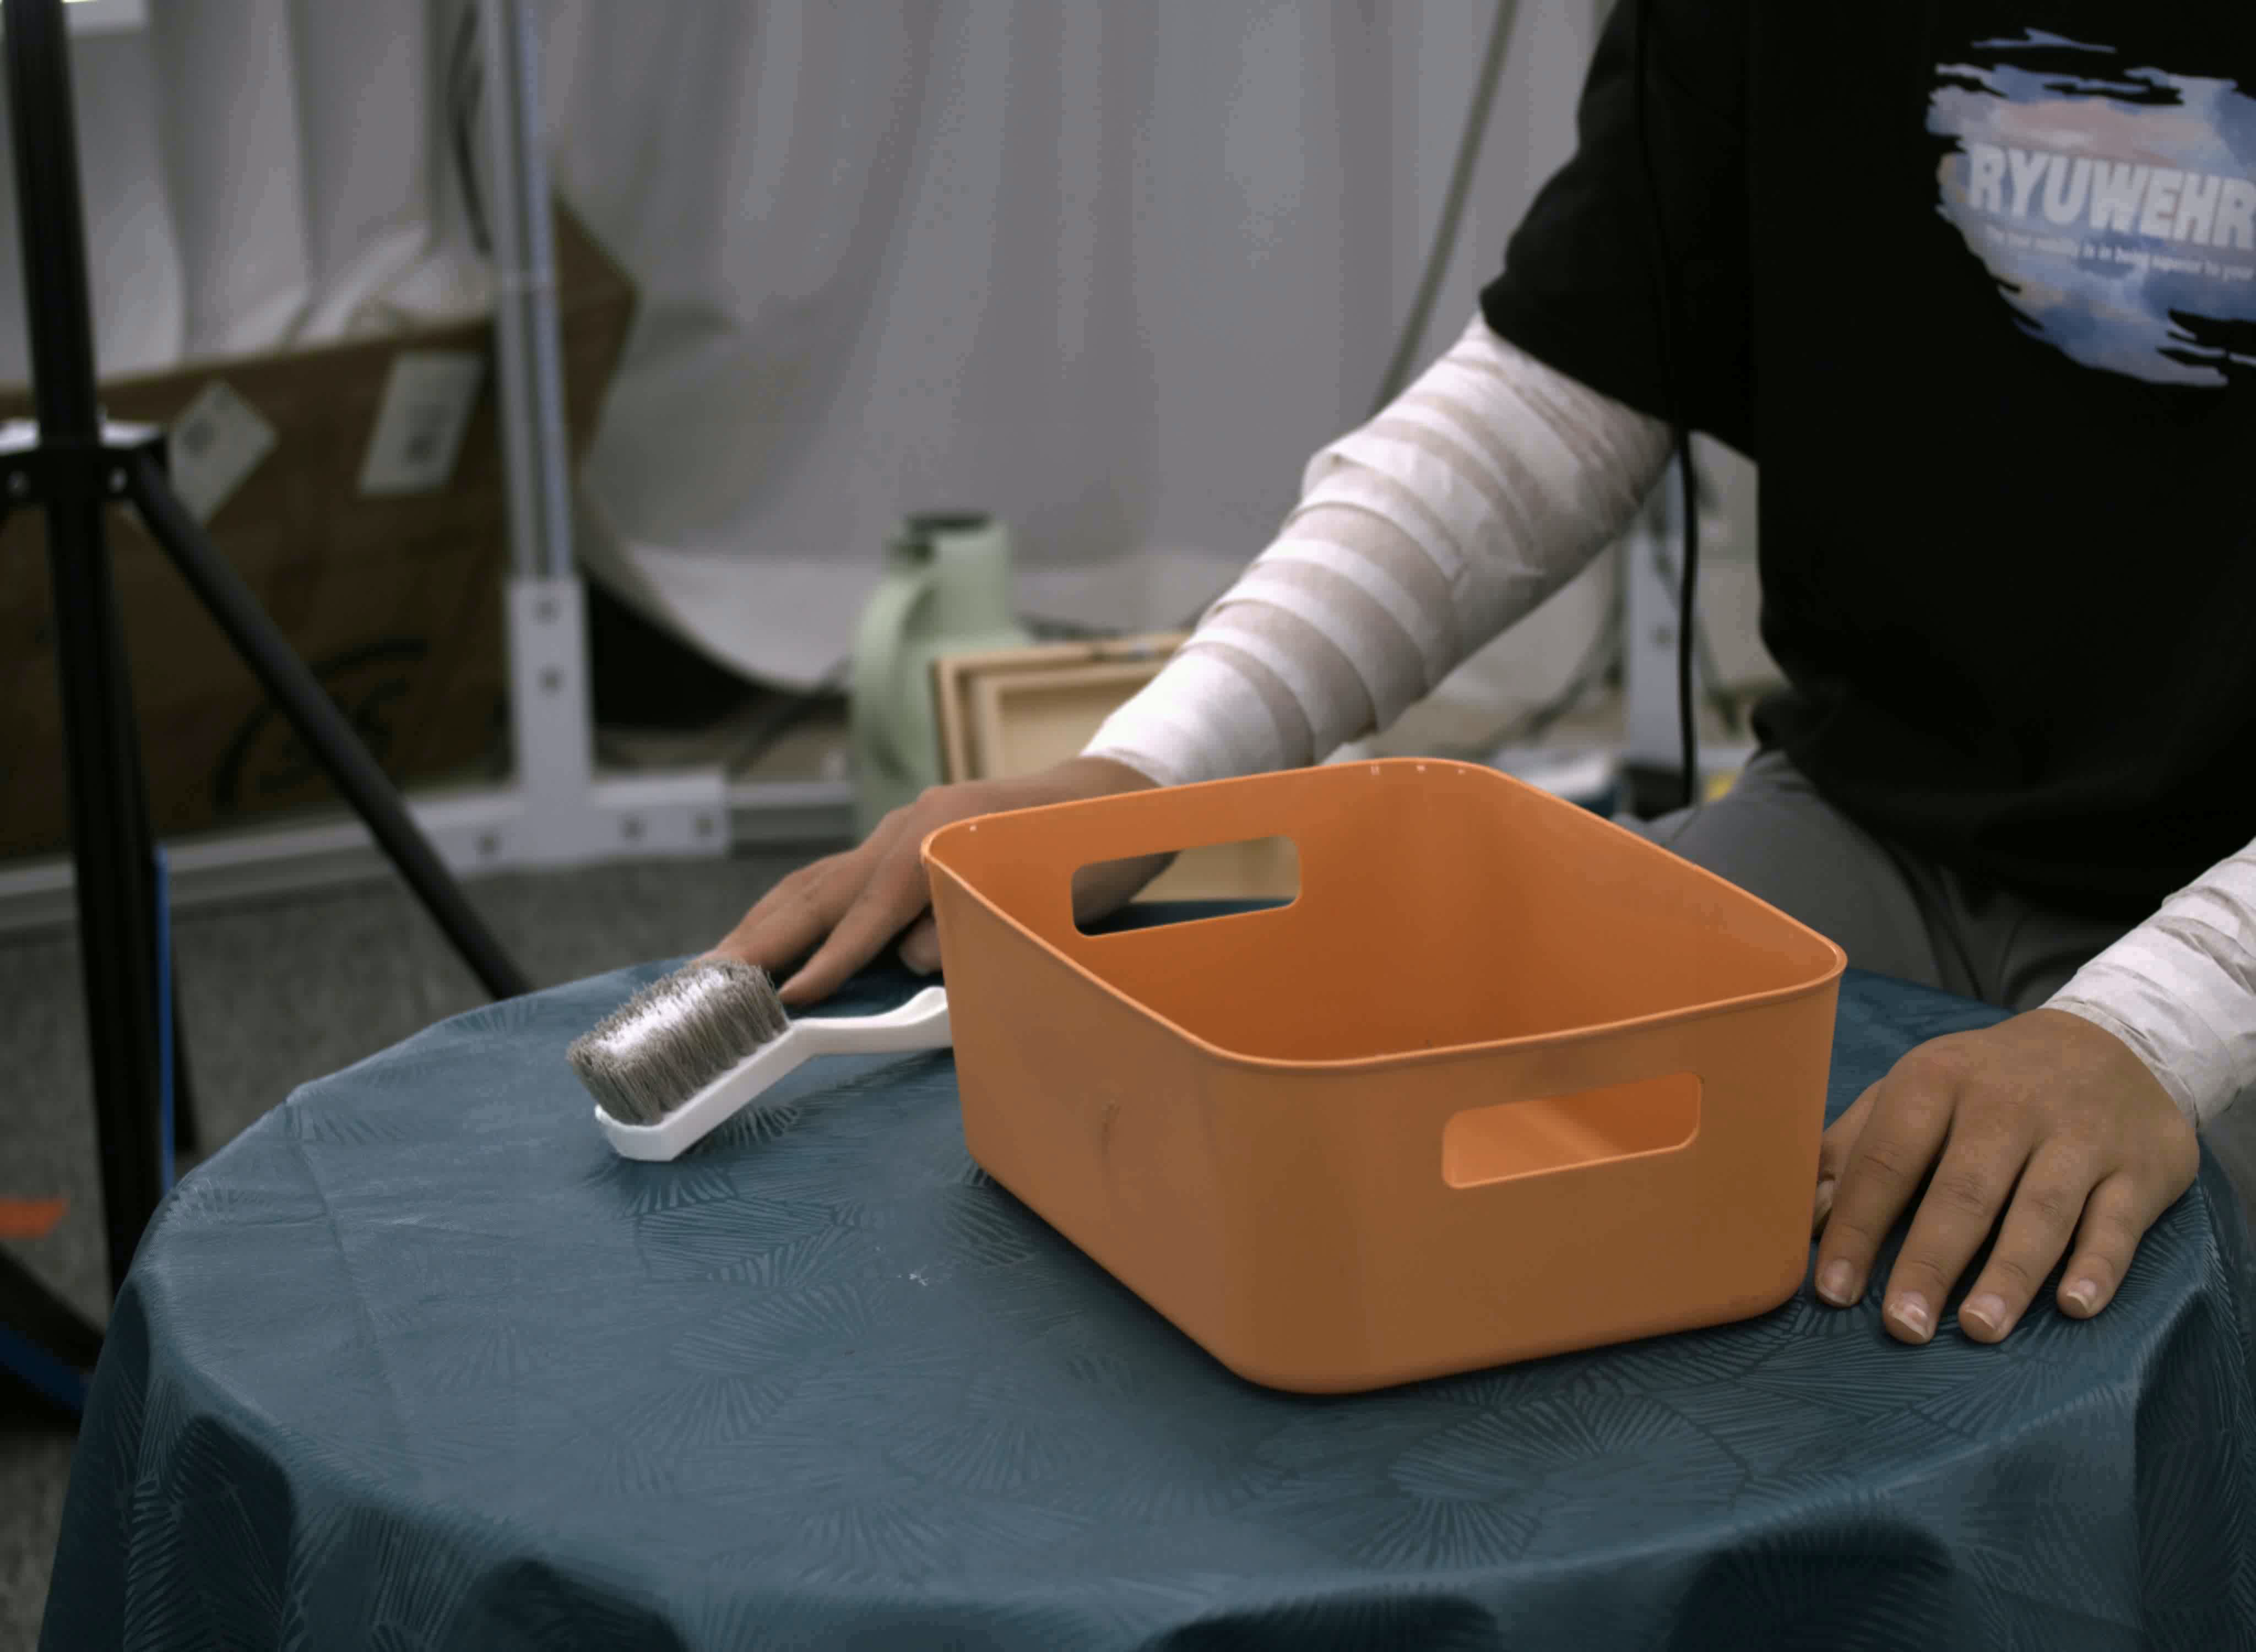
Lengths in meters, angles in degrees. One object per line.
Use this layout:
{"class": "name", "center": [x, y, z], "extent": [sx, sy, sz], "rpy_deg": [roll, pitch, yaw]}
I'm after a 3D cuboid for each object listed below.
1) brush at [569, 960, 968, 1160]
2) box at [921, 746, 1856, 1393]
{"class": "brush", "center": [-0.072, 0.053, 1.674], "extent": [0.238, 0.050, 0.035], "rpy_deg": [-16, 18, -39]}
{"class": "box", "center": [0.070, 0.065, 1.504], "extent": [0.196, 0.102, 0.278], "rpy_deg": [-9, 17, -21]}
